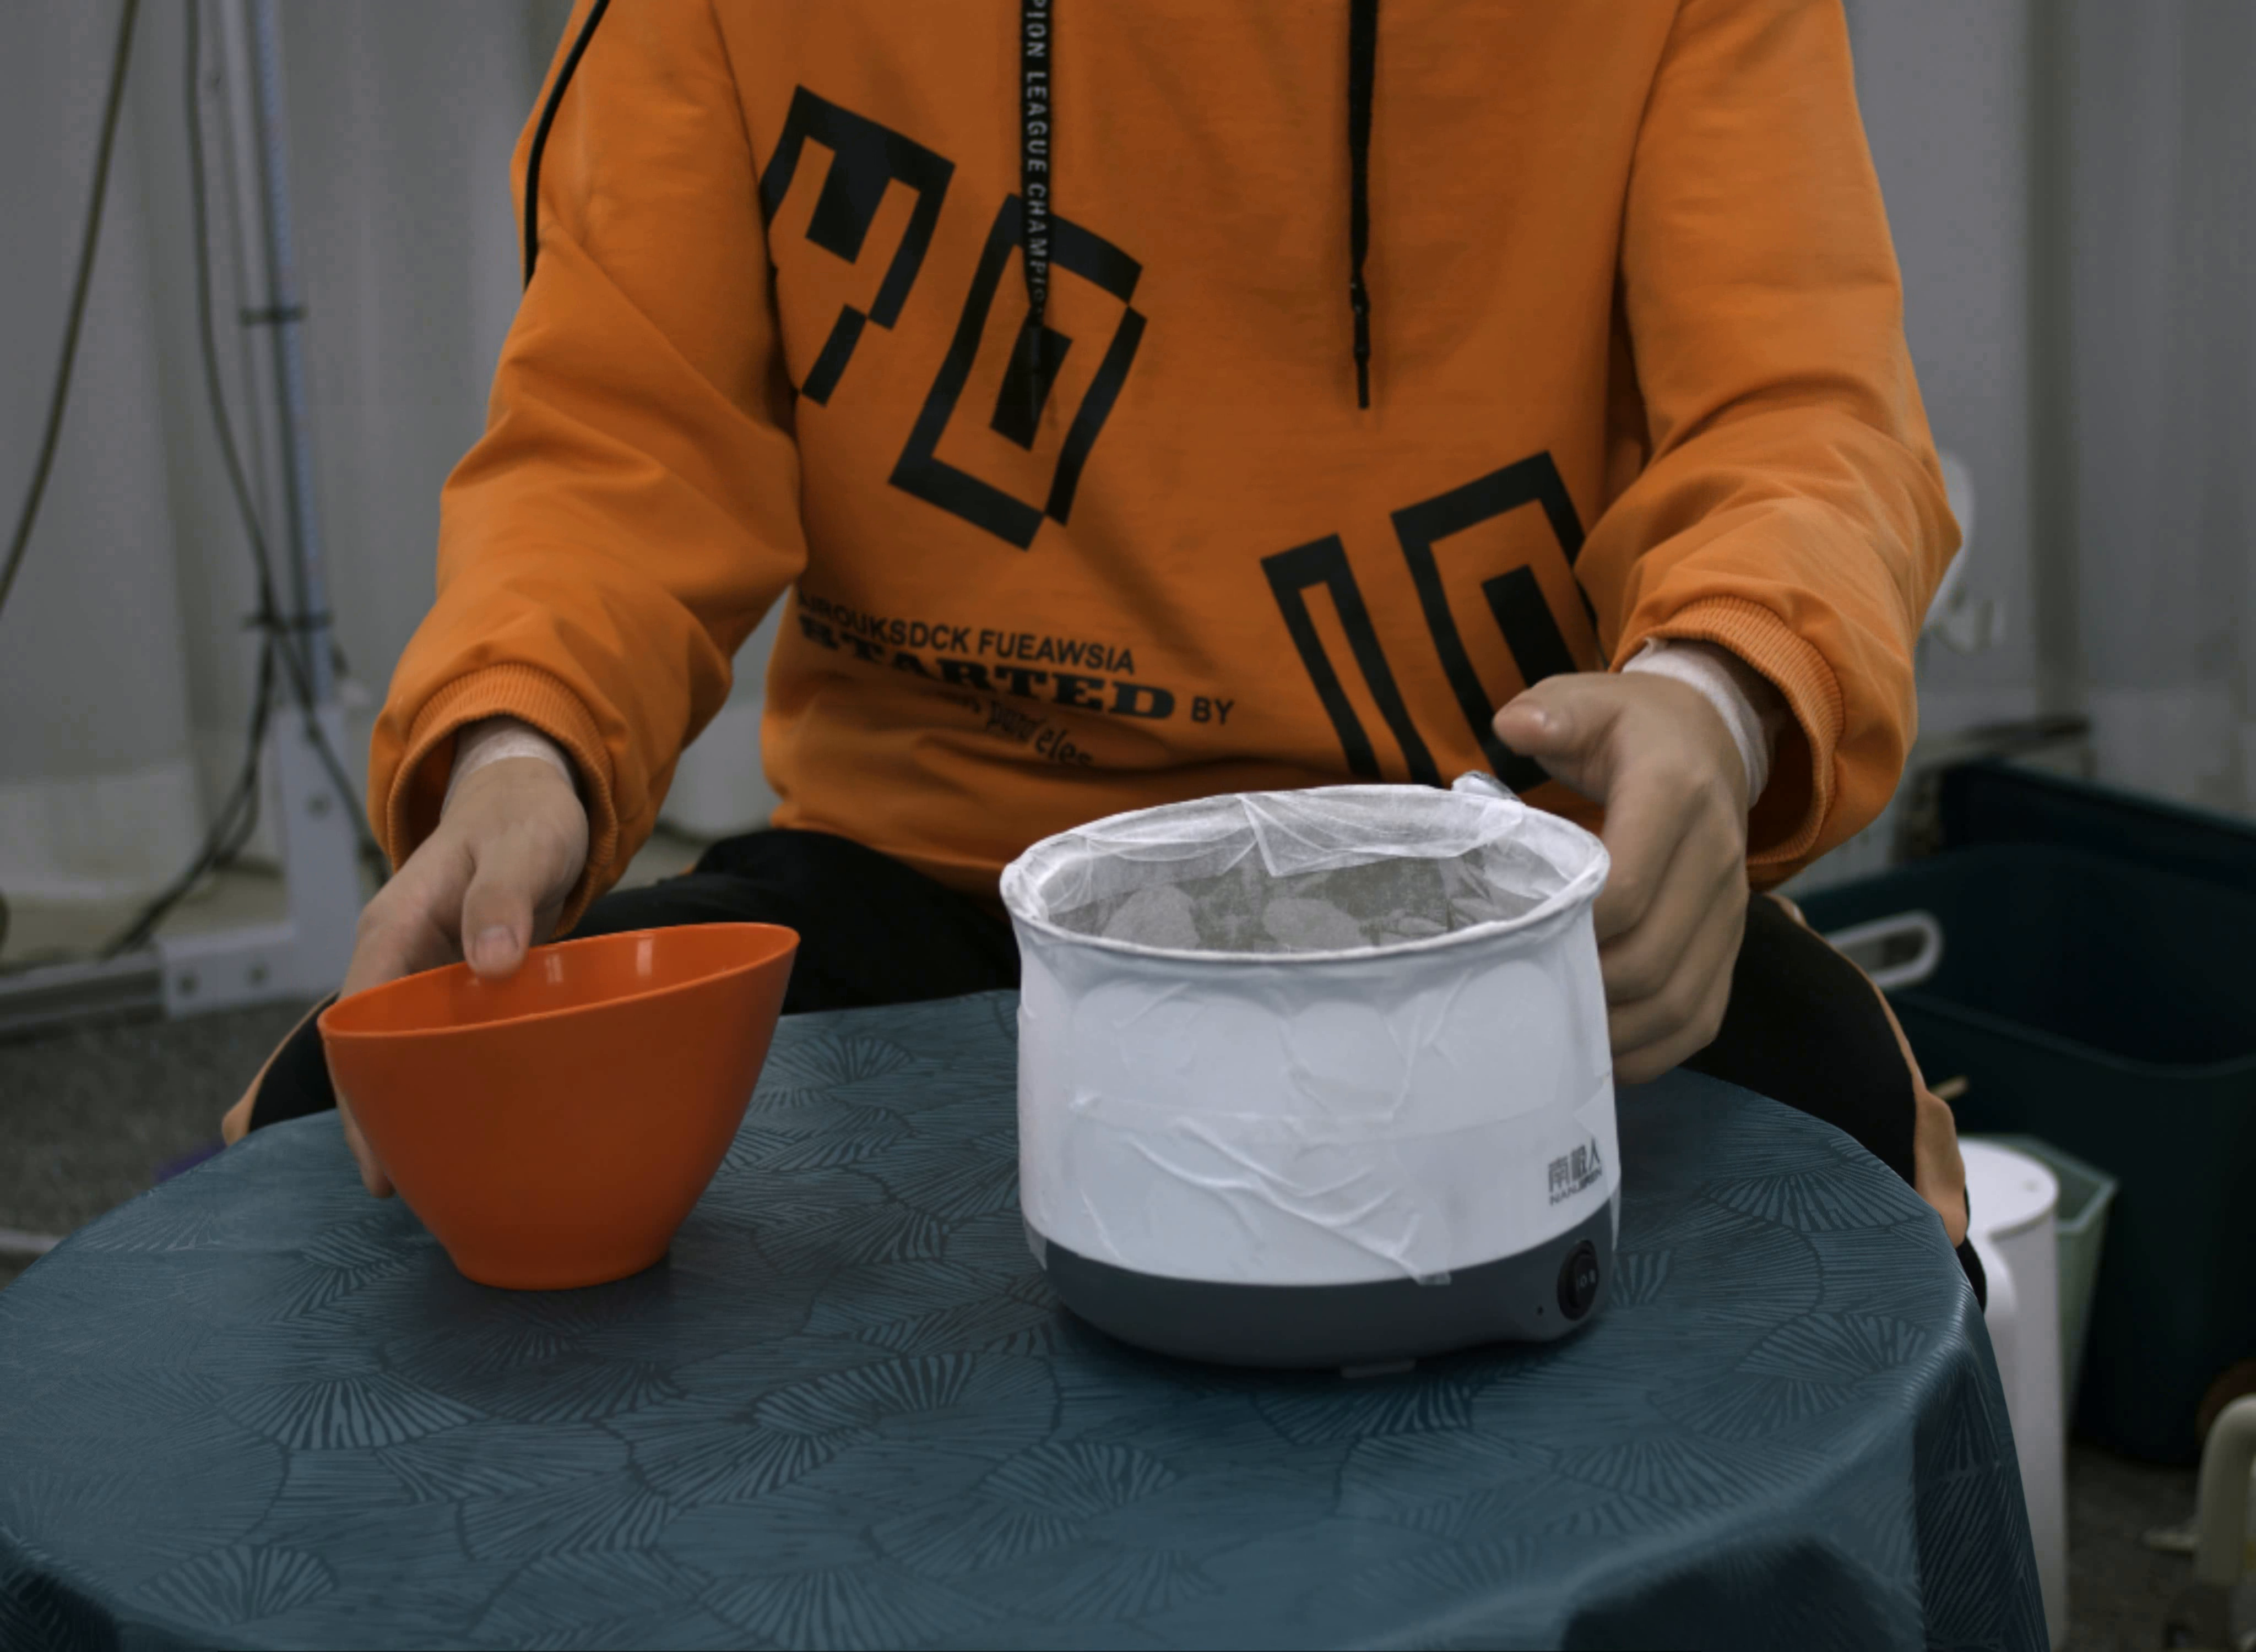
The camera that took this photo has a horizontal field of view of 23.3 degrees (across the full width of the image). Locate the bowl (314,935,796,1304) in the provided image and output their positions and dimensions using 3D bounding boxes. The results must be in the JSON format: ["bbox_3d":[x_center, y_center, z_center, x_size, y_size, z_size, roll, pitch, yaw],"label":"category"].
[{"bbox_3d":[-0.171,0.088,1.664,0.147,0.104,0.149,-4,13,1],"label":"bowl"}]

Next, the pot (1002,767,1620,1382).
[{"bbox_3d":[0.069,0.066,1.619,0.179,0.136,0.234,7,18,32],"label":"pot"}]
